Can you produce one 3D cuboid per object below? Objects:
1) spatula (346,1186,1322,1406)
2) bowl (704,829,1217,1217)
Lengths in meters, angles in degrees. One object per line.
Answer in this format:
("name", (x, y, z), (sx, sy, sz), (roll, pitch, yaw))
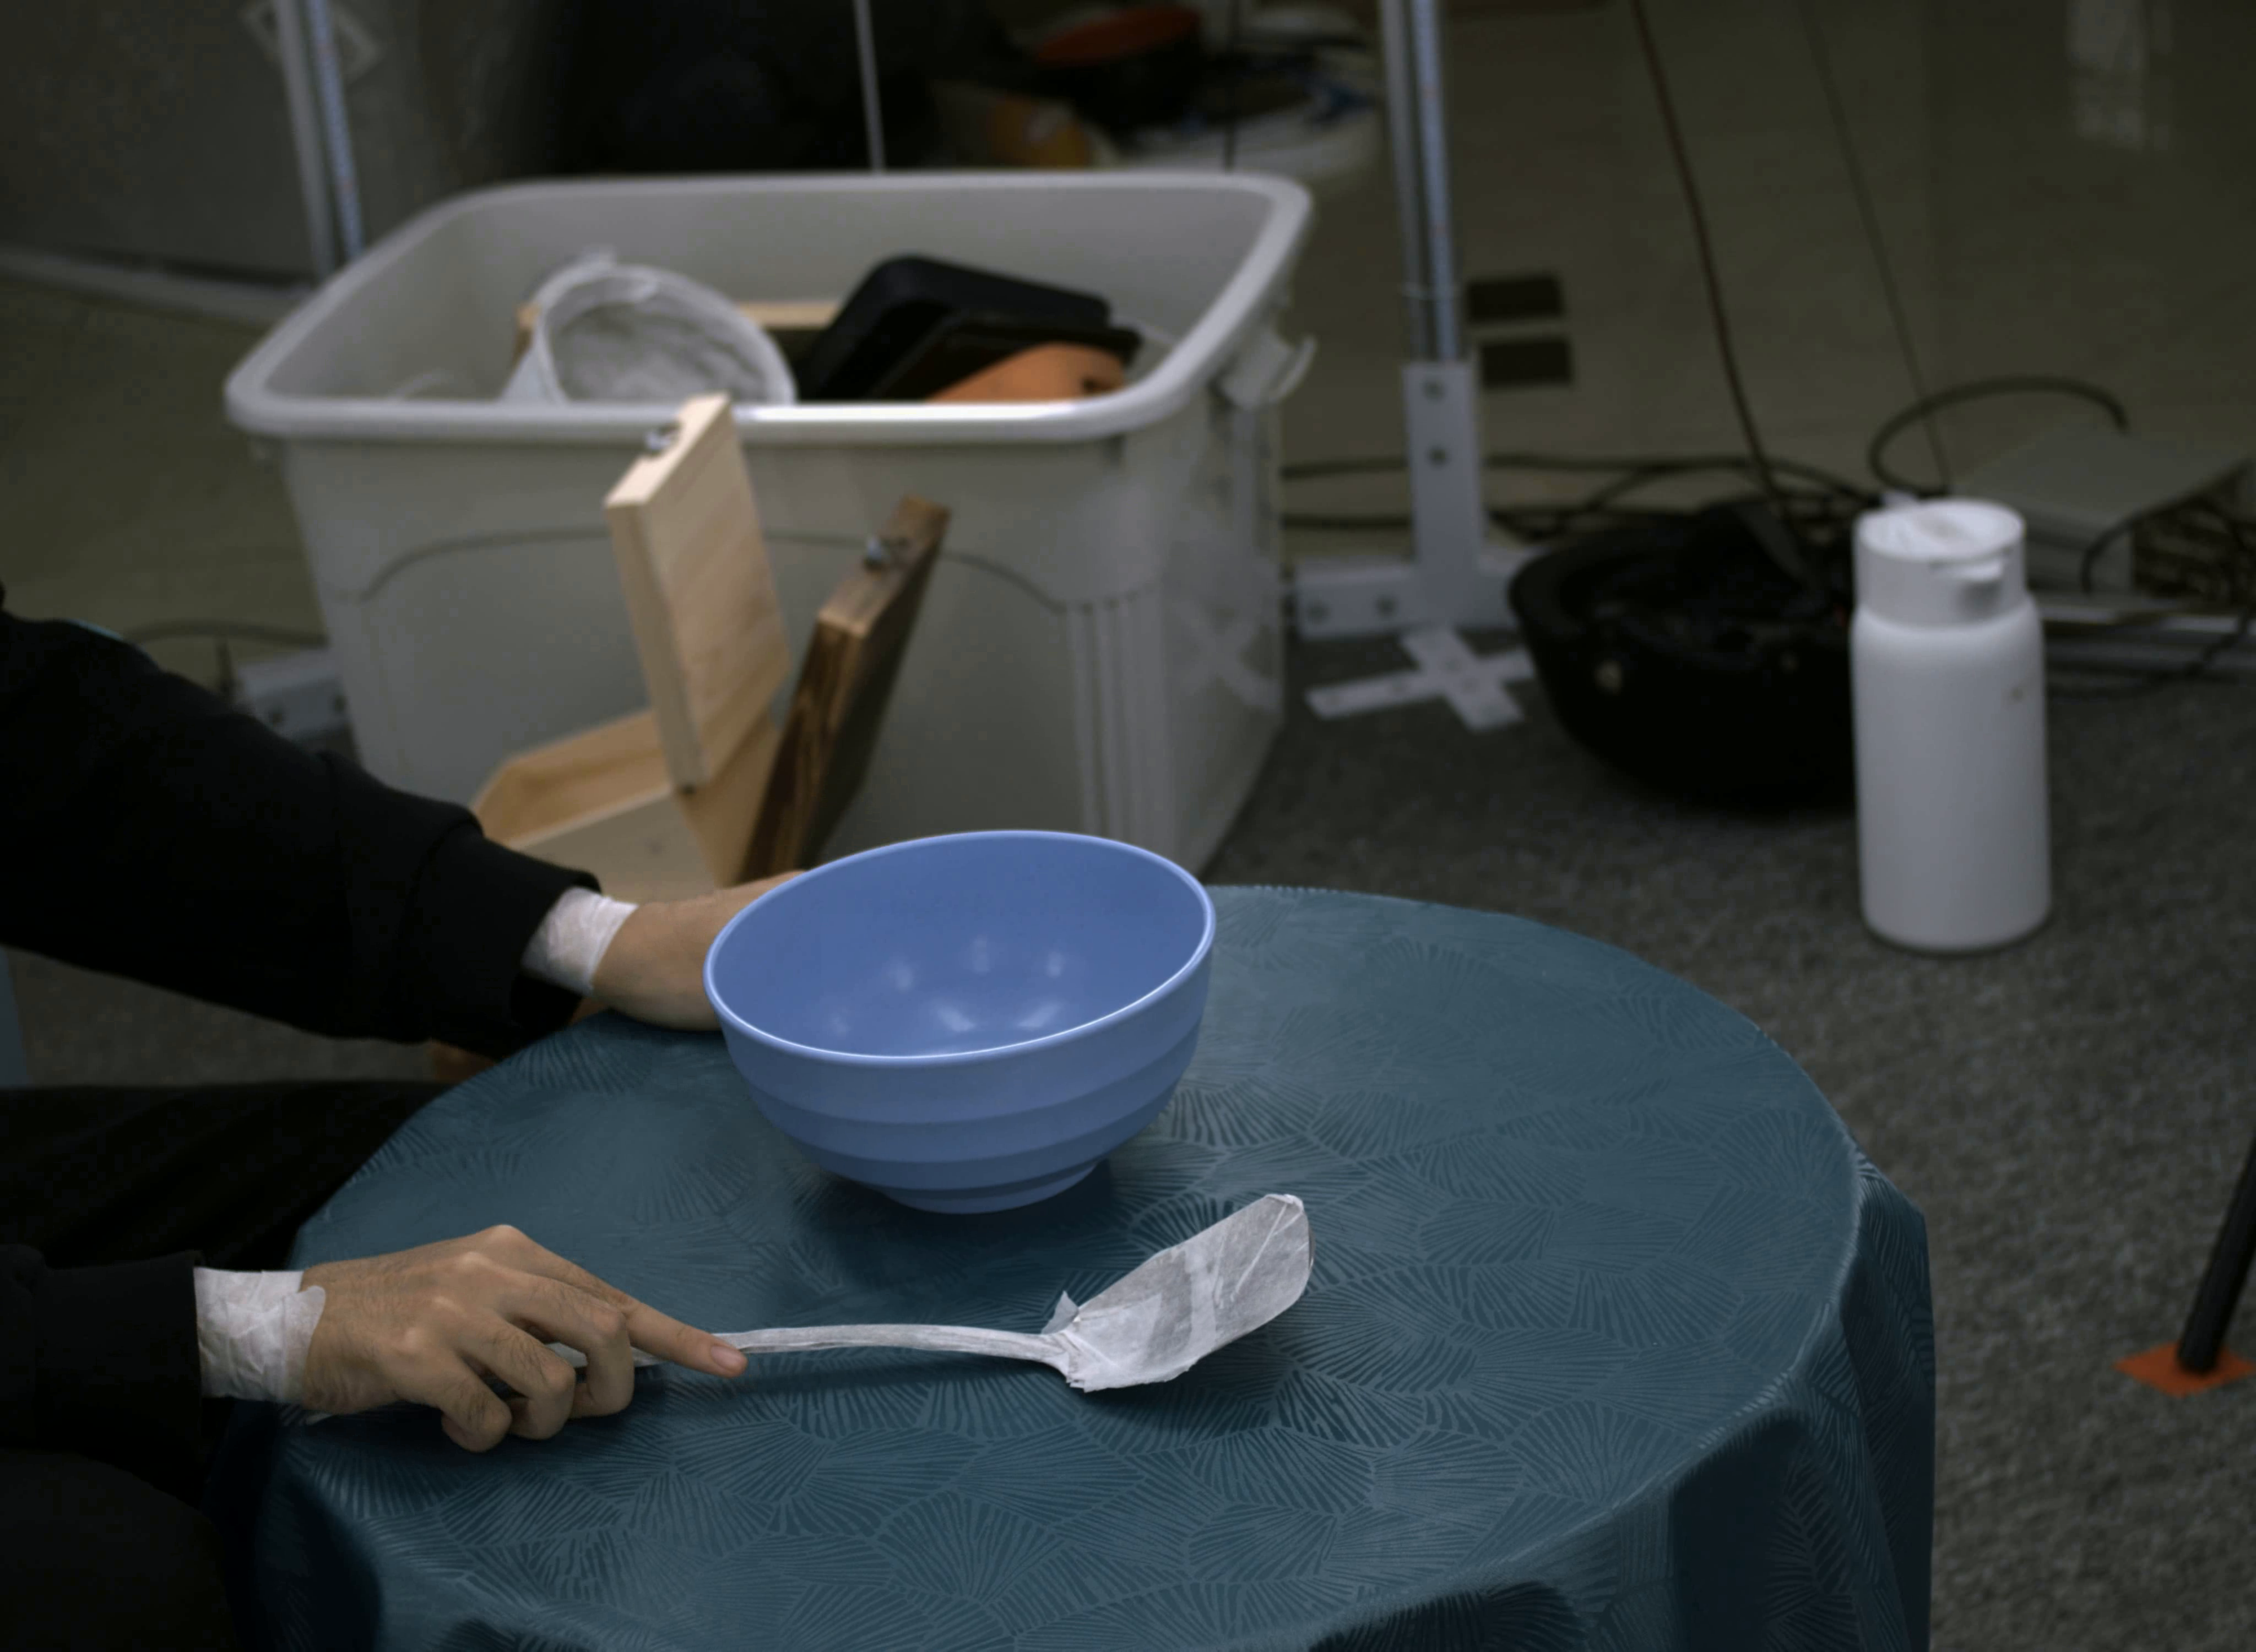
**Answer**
("spatula", (-0.110, 0.180, 2.047), (0.364, 0.045, 0.097), (-4, 26, 5))
("bowl", (-0.059, 0.086, 2.168), (0.196, 0.097, 0.193), (-5, 26, 3))
